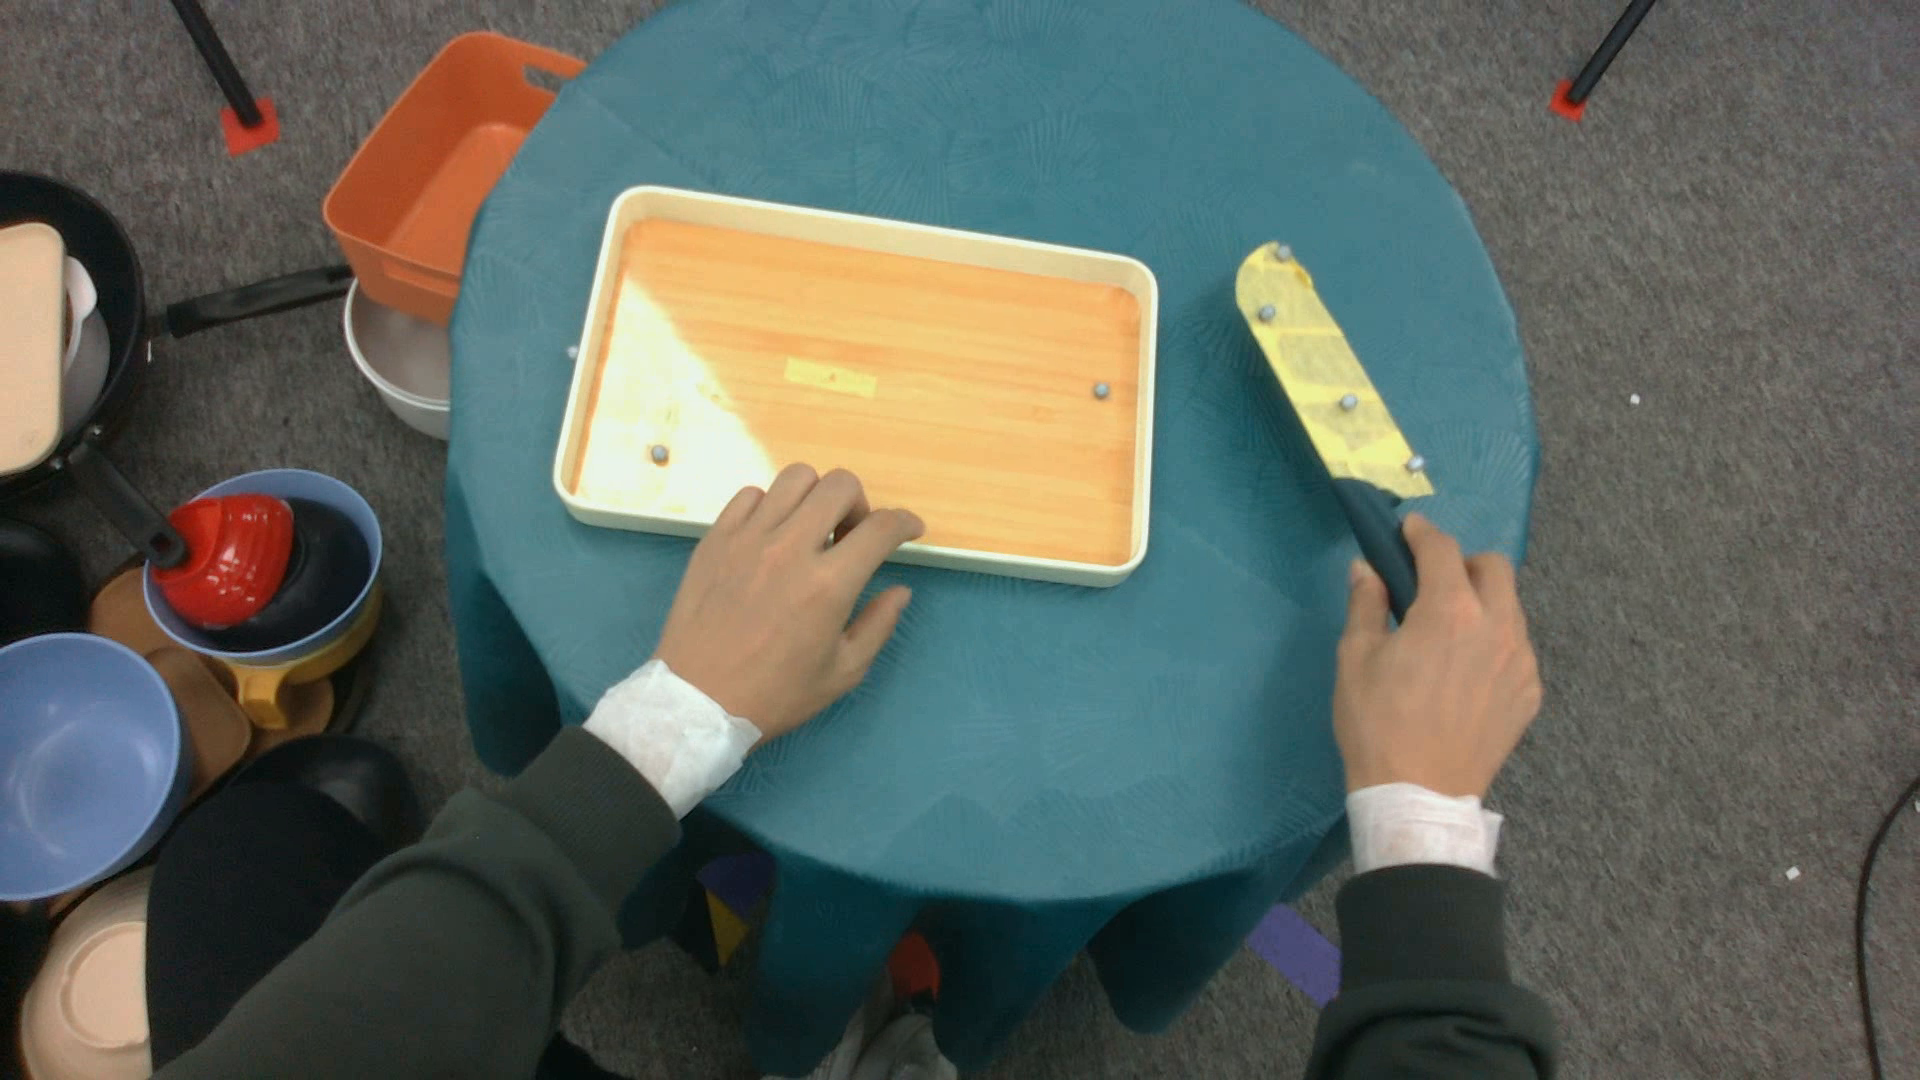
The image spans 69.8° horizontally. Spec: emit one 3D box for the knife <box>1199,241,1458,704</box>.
[{"bbox_3d":[0.197,-0.047,0.731,0.081,0.027,0.290,-3,61,-33],"label":"knife"}]

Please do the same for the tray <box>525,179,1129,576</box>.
[{"bbox_3d":[-0.061,-0.087,0.729,0.300,0.027,0.192,7,68,-5],"label":"tray"}]
